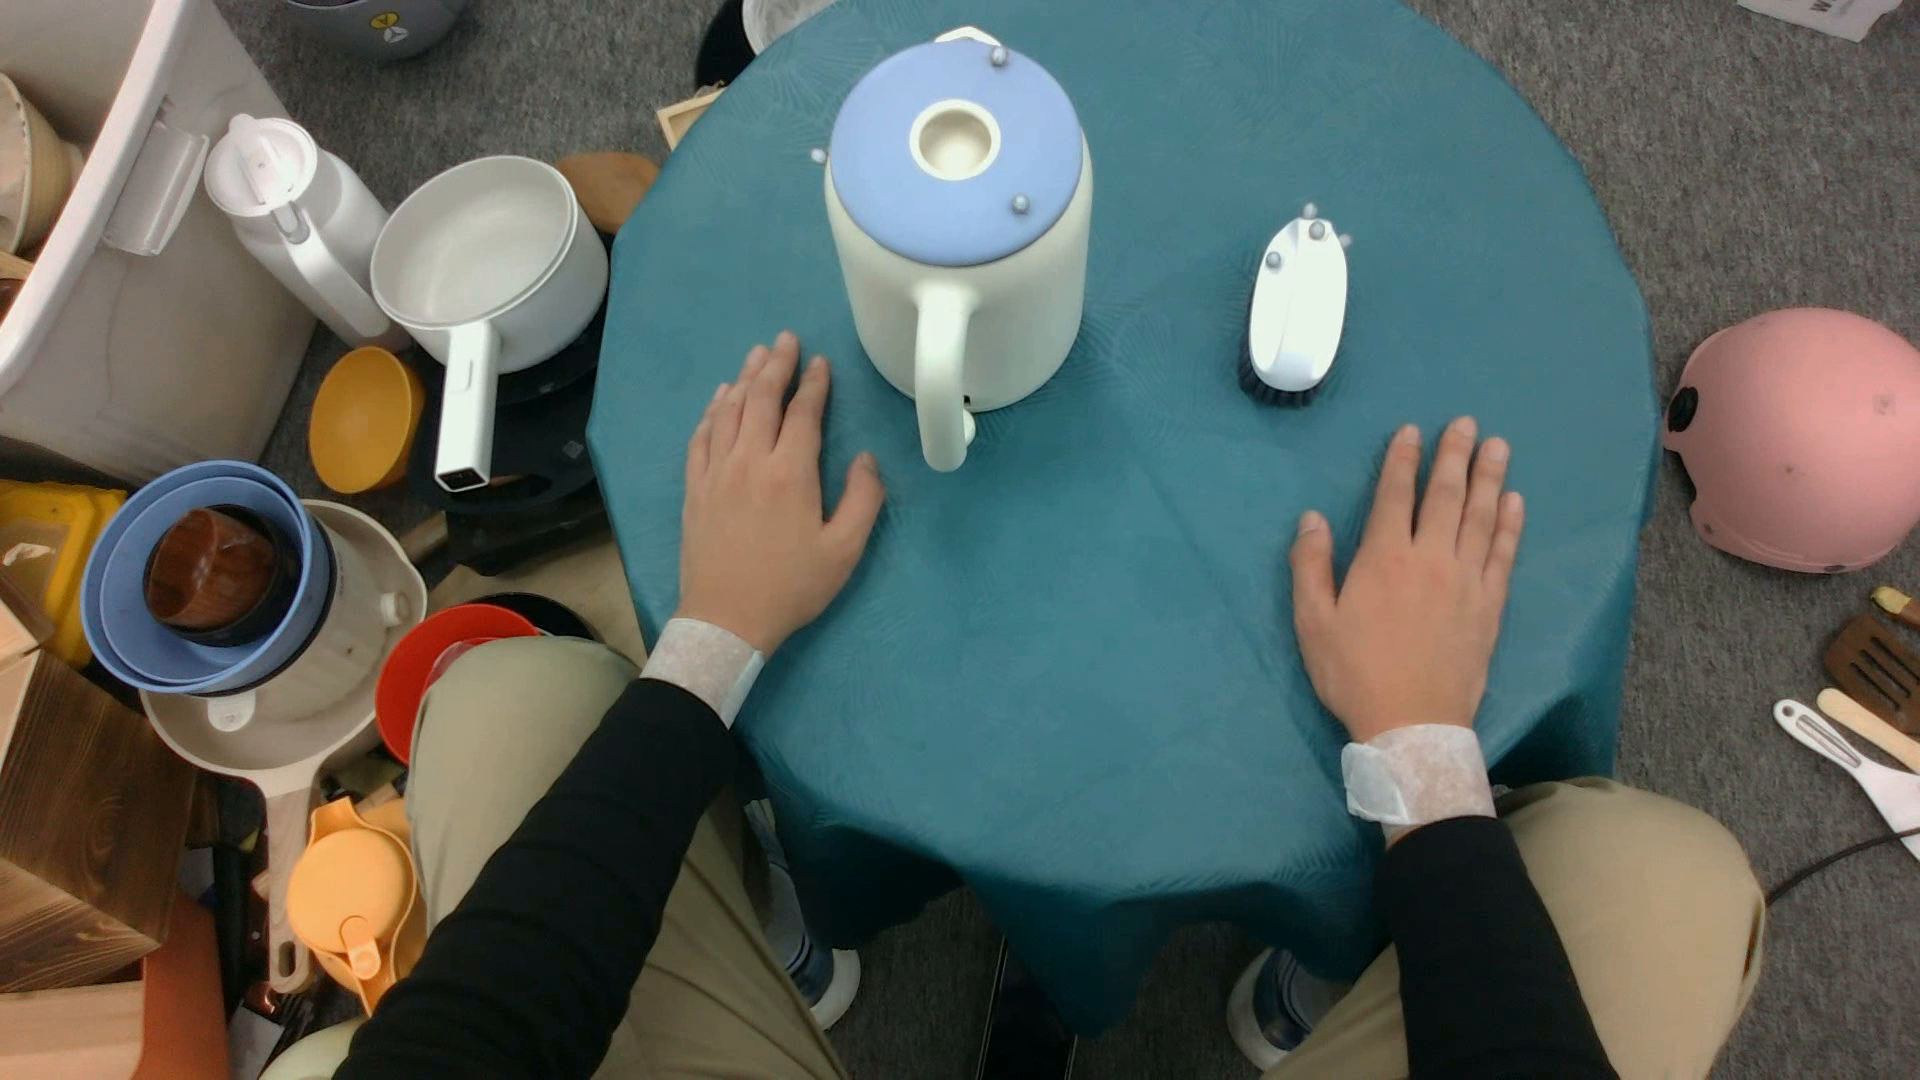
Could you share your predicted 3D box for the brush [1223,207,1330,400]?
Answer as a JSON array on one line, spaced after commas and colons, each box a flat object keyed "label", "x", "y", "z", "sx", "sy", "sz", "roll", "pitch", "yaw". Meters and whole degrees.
[{"label": "brush", "x": 0.178, "y": -0.136, "z": 0.756, "sx": 0.050, "sy": 0.072, "sz": 0.099, "roll": 11, "pitch": 73, "yaw": 5}]

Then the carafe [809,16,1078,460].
[{"label": "carafe", "x": -0.009, "y": -0.140, "z": 0.711, "sx": 0.132, "sy": 0.182, "sz": 0.191, "roll": 3, "pitch": 74, "yaw": 3}]
